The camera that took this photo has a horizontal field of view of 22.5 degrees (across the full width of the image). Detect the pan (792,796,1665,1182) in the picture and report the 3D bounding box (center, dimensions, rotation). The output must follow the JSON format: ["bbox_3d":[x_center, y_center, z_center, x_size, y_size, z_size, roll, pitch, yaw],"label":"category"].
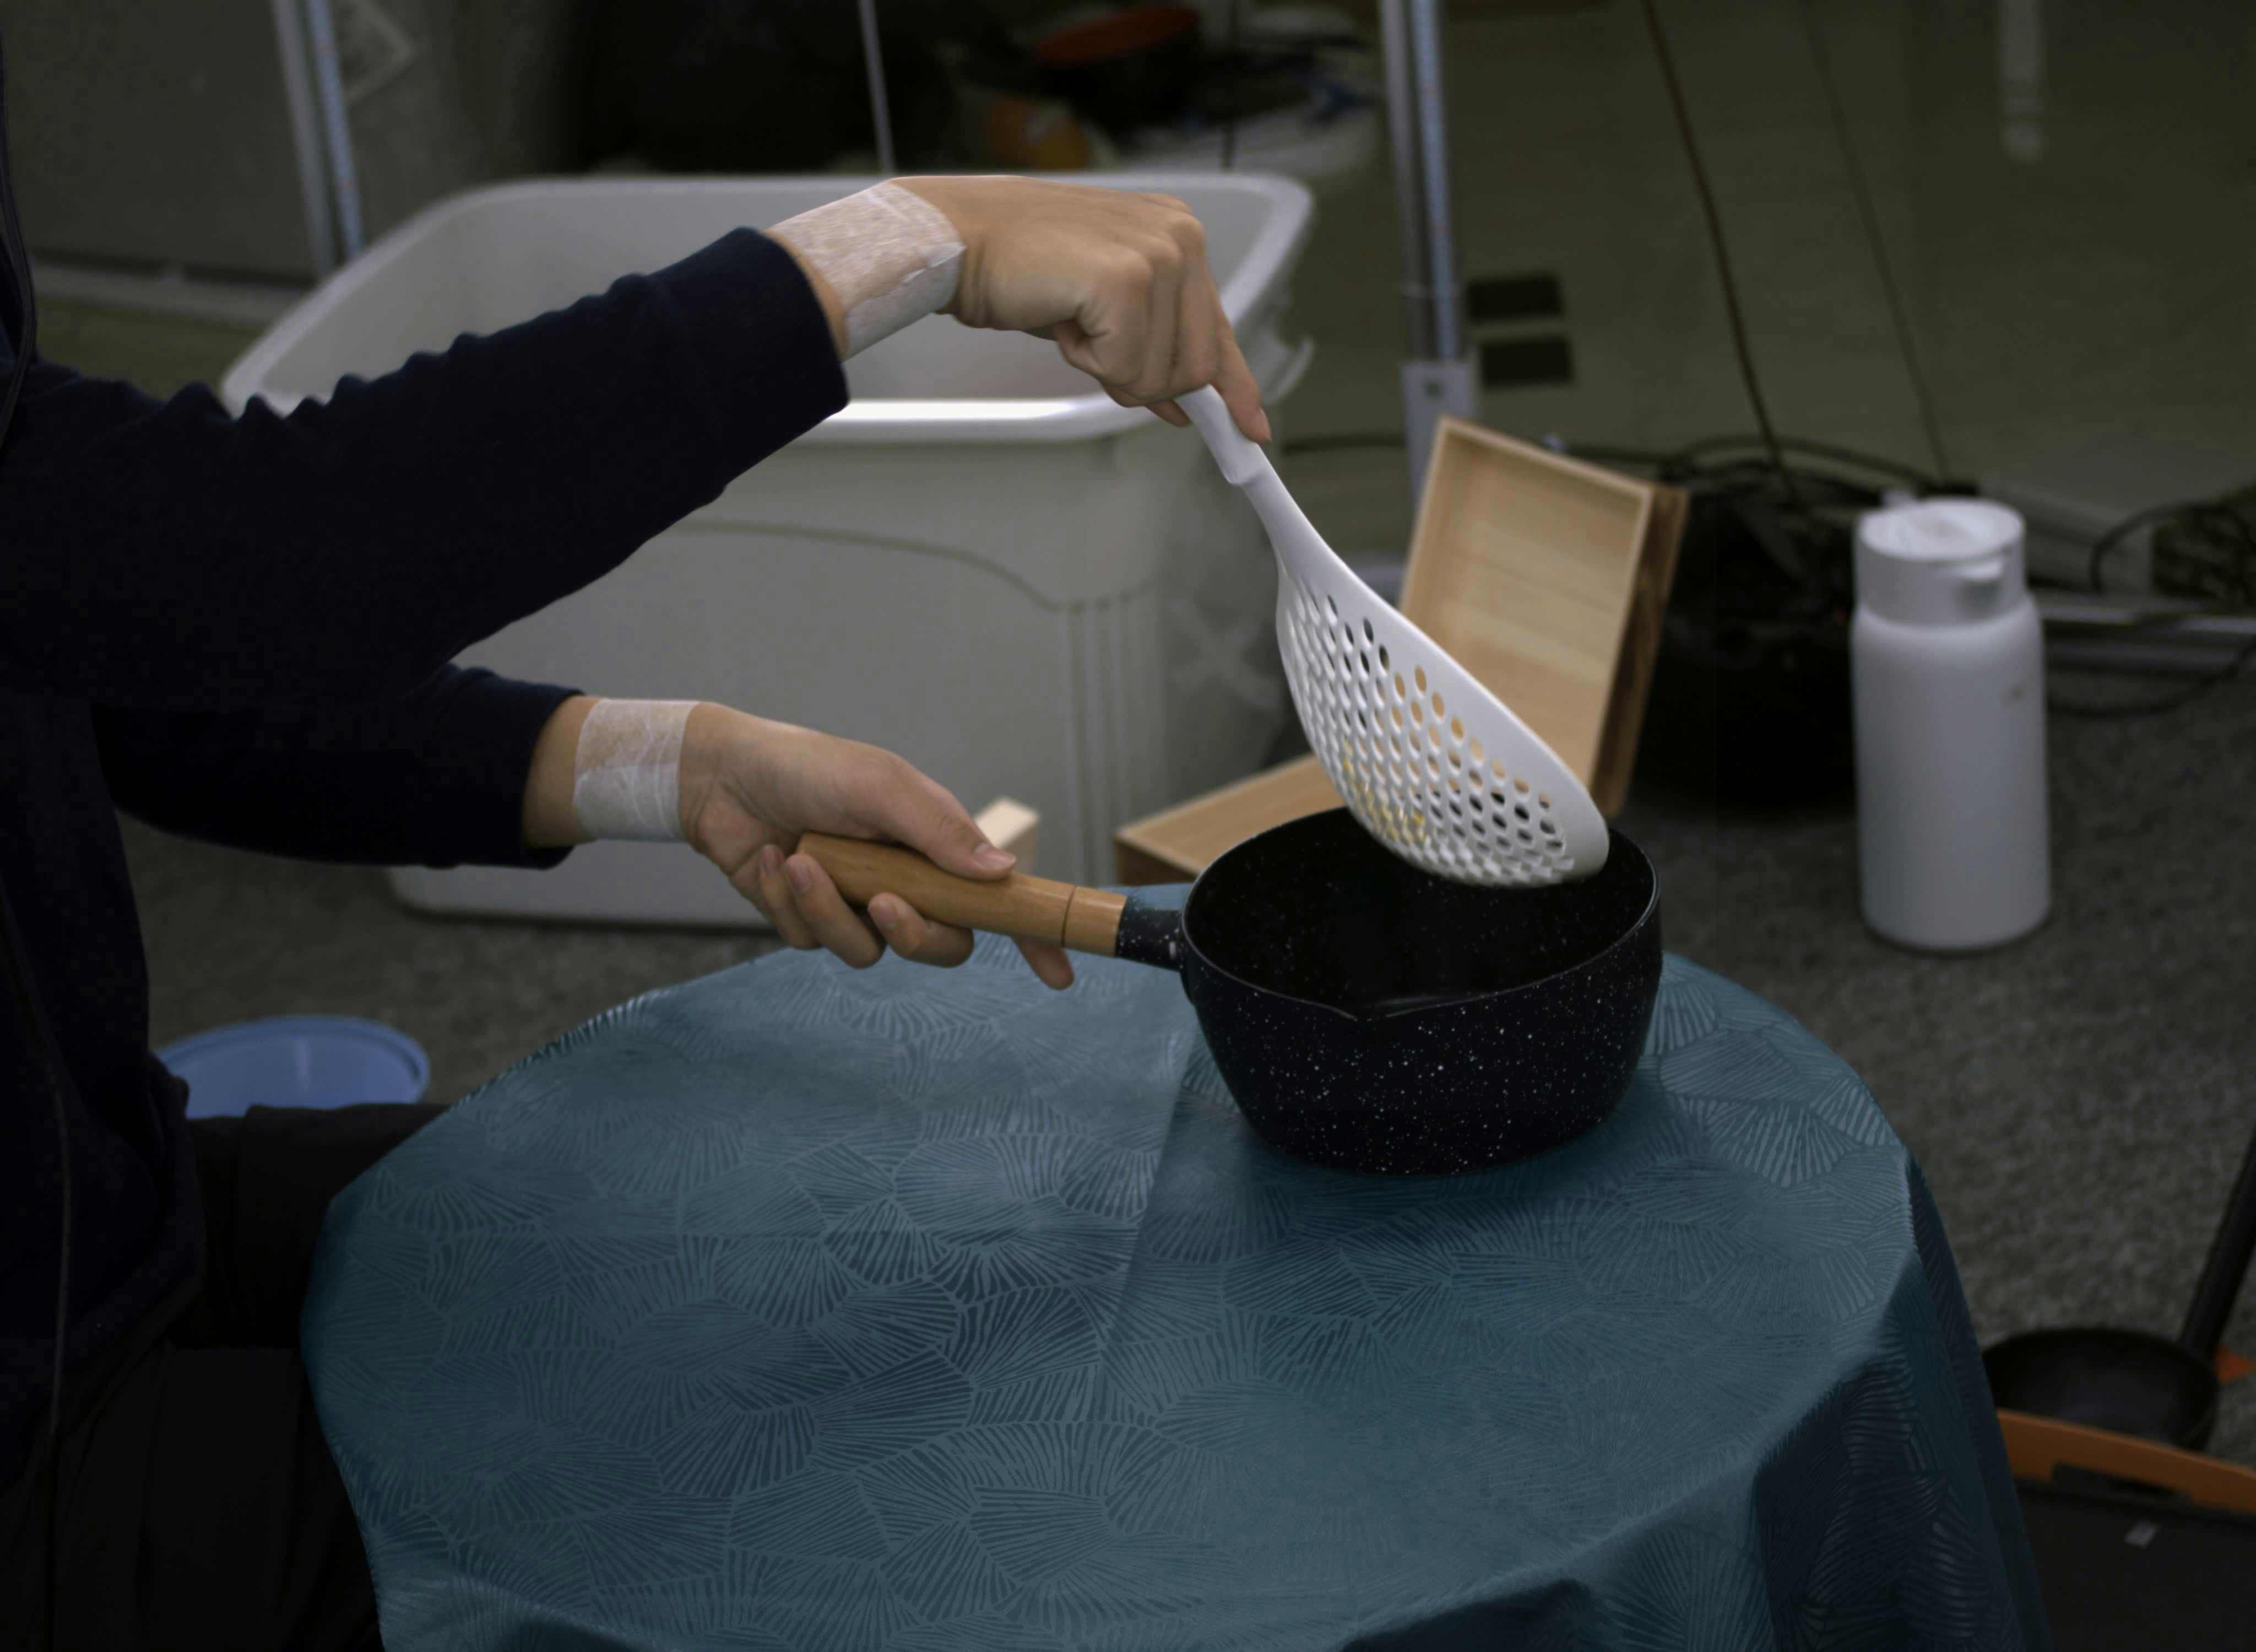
[{"bbox_3d":[0.037,0.053,2.191,0.342,0.110,0.204,1,27,13],"label":"pan"}]

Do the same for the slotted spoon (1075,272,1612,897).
[{"bbox_3d":[0.065,-0.086,2.068,0.136,0.354,0.050,15,56,44],"label":"slotted spoon"}]
